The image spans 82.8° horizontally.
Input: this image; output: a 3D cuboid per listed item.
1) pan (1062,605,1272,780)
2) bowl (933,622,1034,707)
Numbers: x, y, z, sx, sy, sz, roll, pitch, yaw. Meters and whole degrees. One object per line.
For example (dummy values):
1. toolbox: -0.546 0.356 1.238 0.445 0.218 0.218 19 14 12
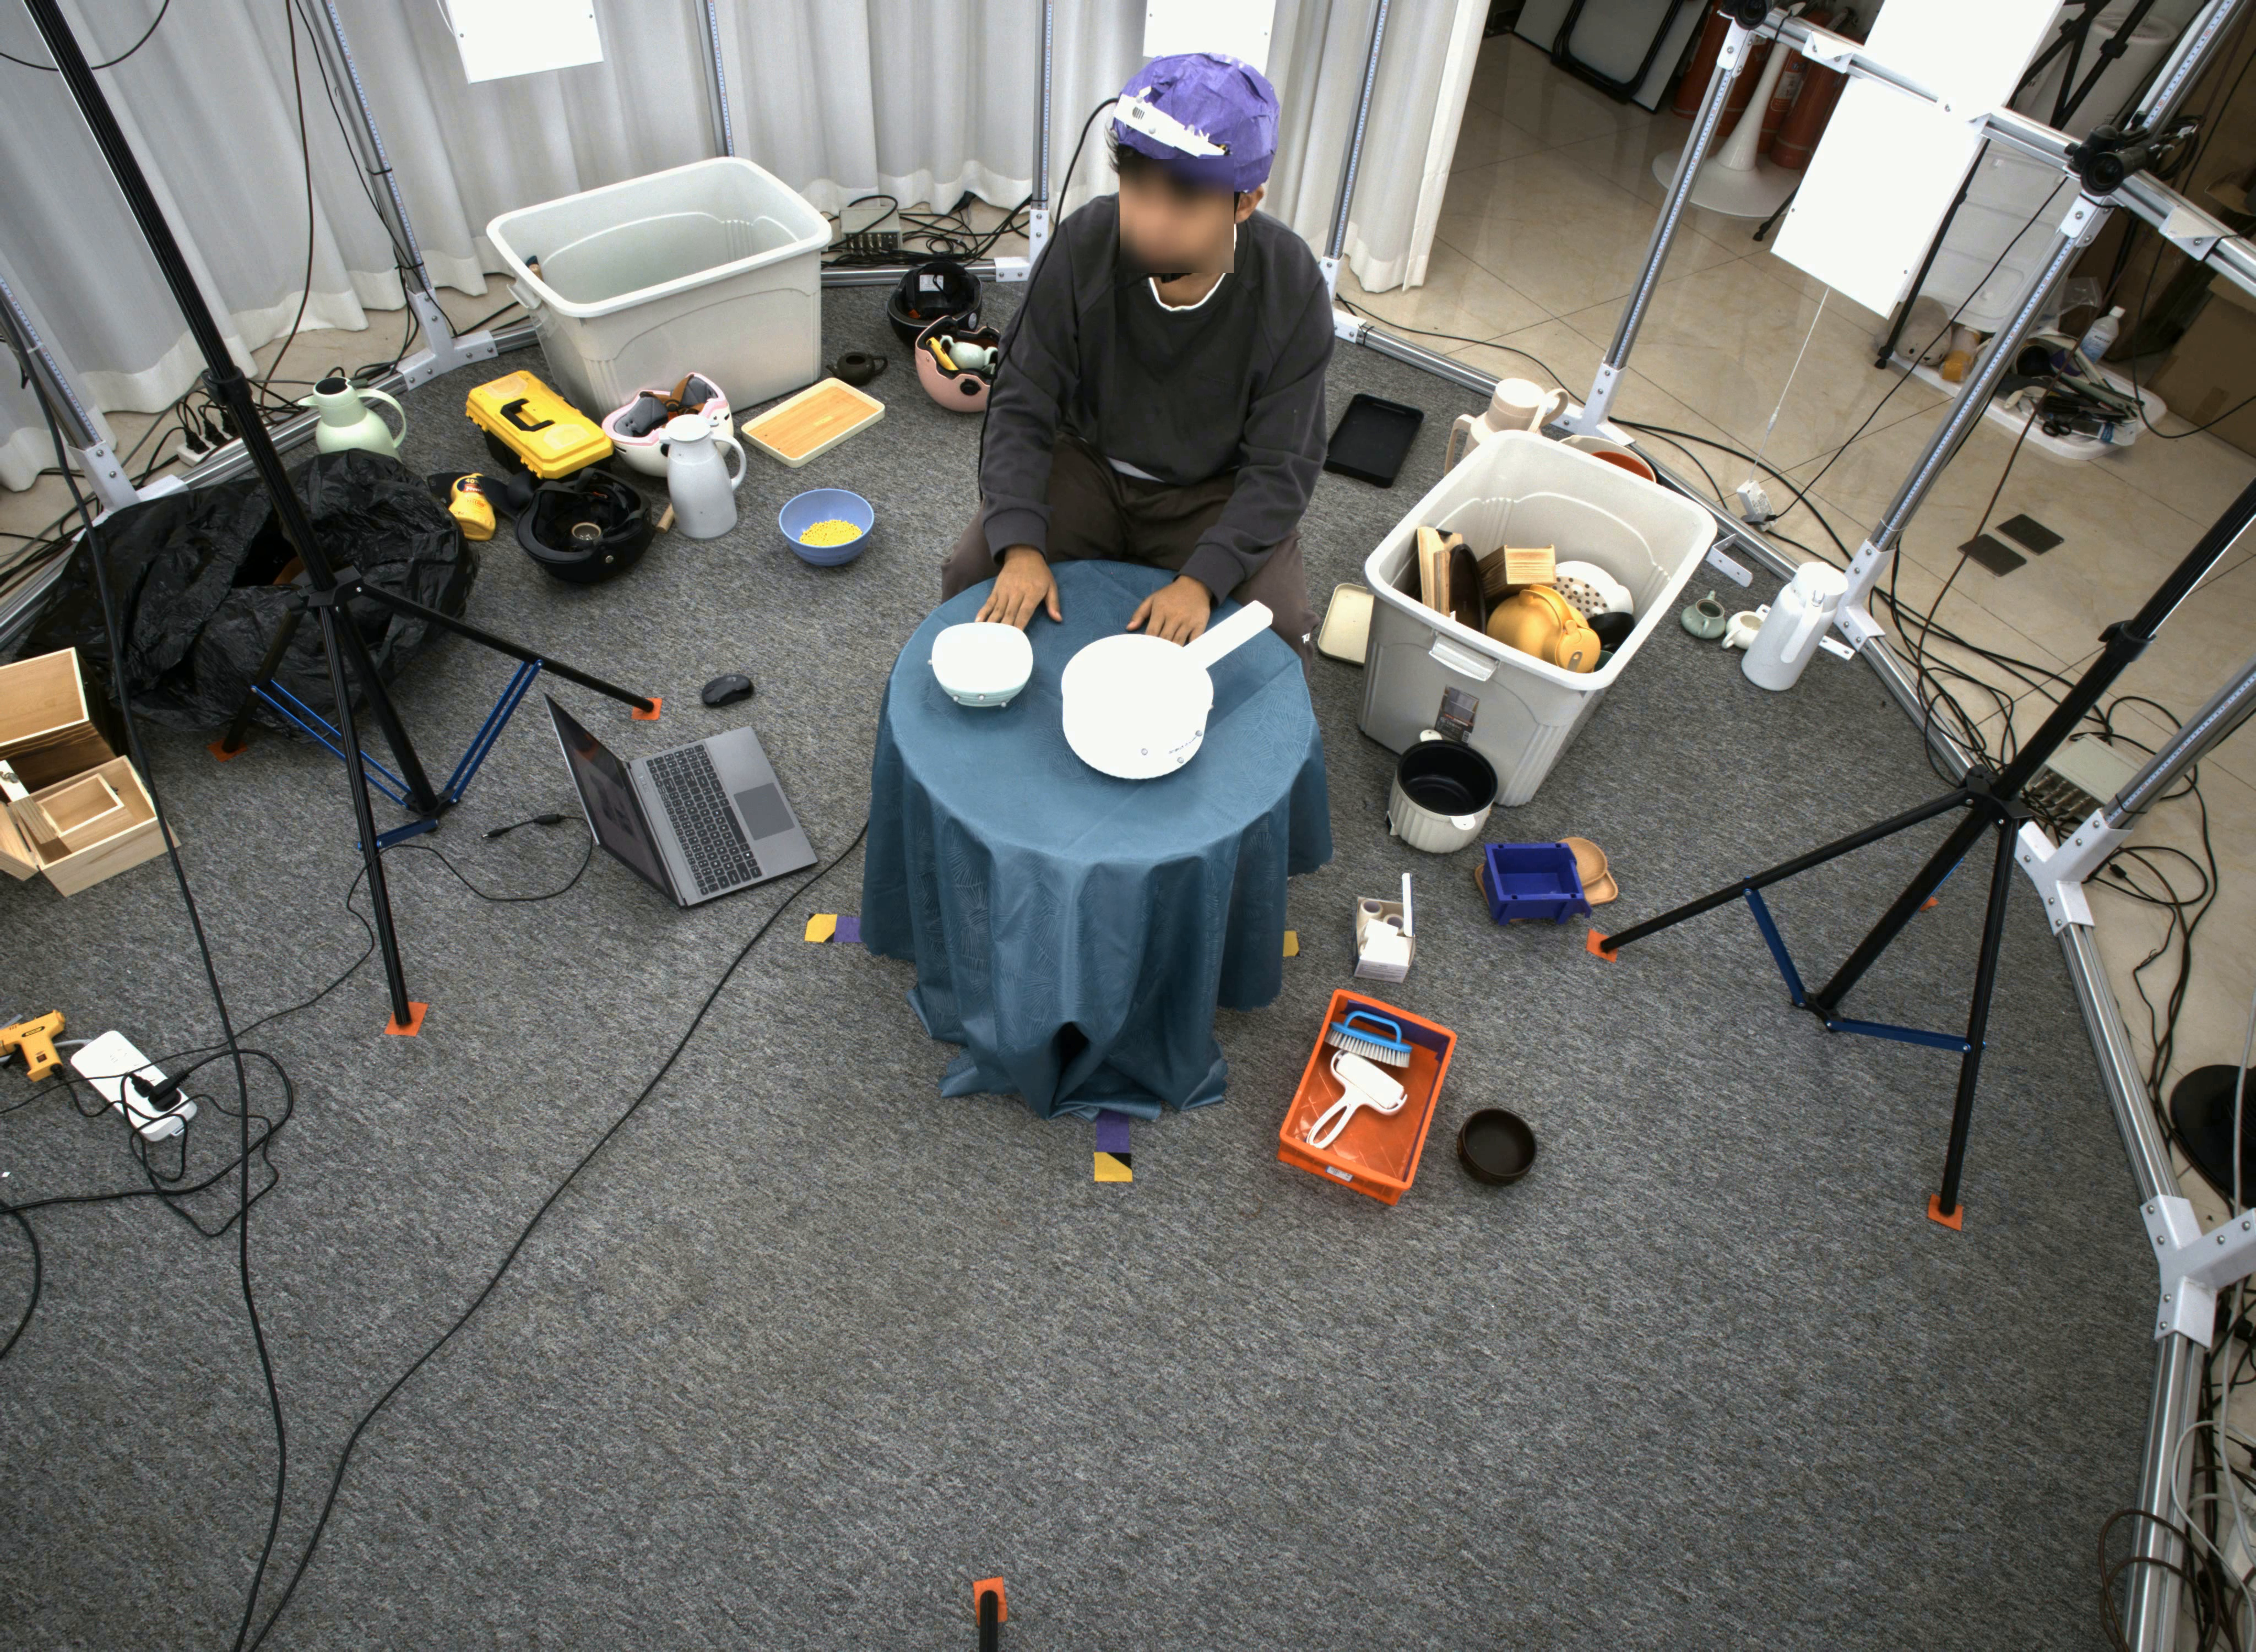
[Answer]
1. pan: 0.064 -0.193 1.779 0.204 0.099 0.358 37 55 27
2. bowl: -0.201 -0.218 1.804 0.151 0.057 0.155 2 50 -2
